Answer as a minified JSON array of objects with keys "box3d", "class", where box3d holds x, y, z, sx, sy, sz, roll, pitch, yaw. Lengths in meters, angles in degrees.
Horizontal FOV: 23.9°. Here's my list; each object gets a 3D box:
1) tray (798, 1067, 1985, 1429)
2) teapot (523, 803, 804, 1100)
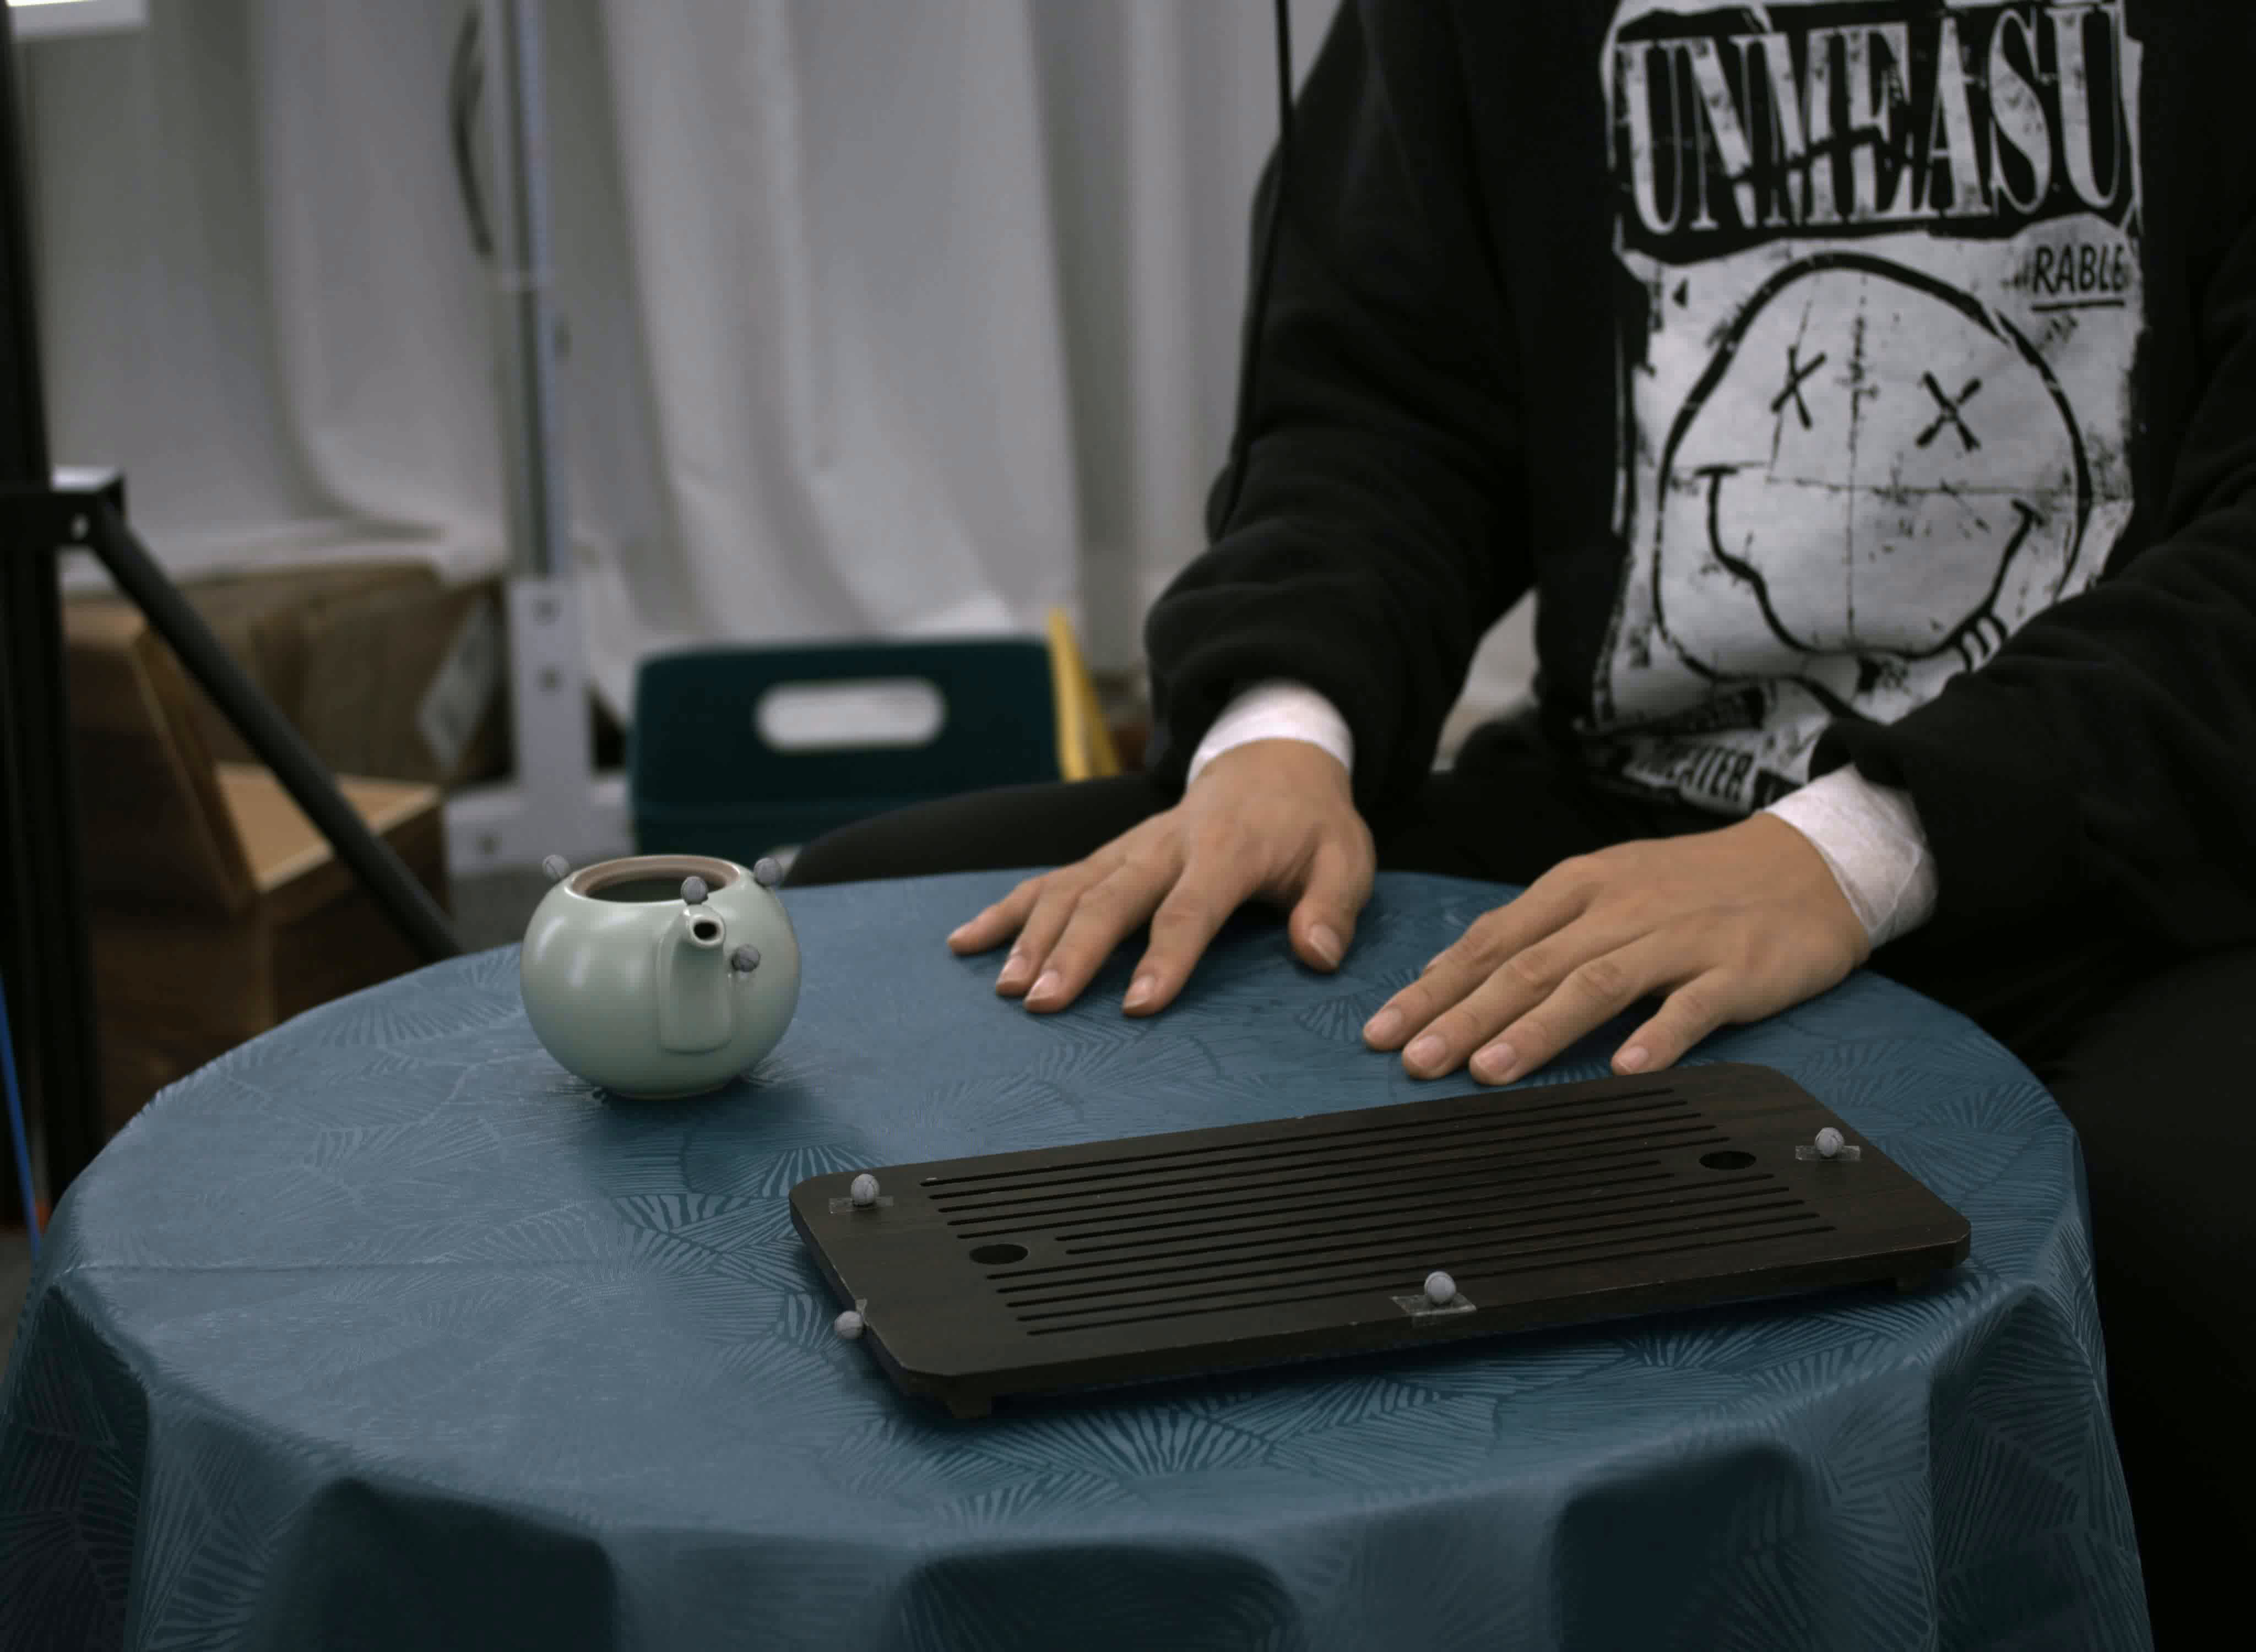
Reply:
[{"box3d":[0.071,0.116,1.481,0.301,0.018,0.172,-6,16,-12],"class":"tray"},{"box3d":[-0.145,0.045,1.670,0.087,0.075,0.146,-7,18,-15],"class":"teapot"}]
